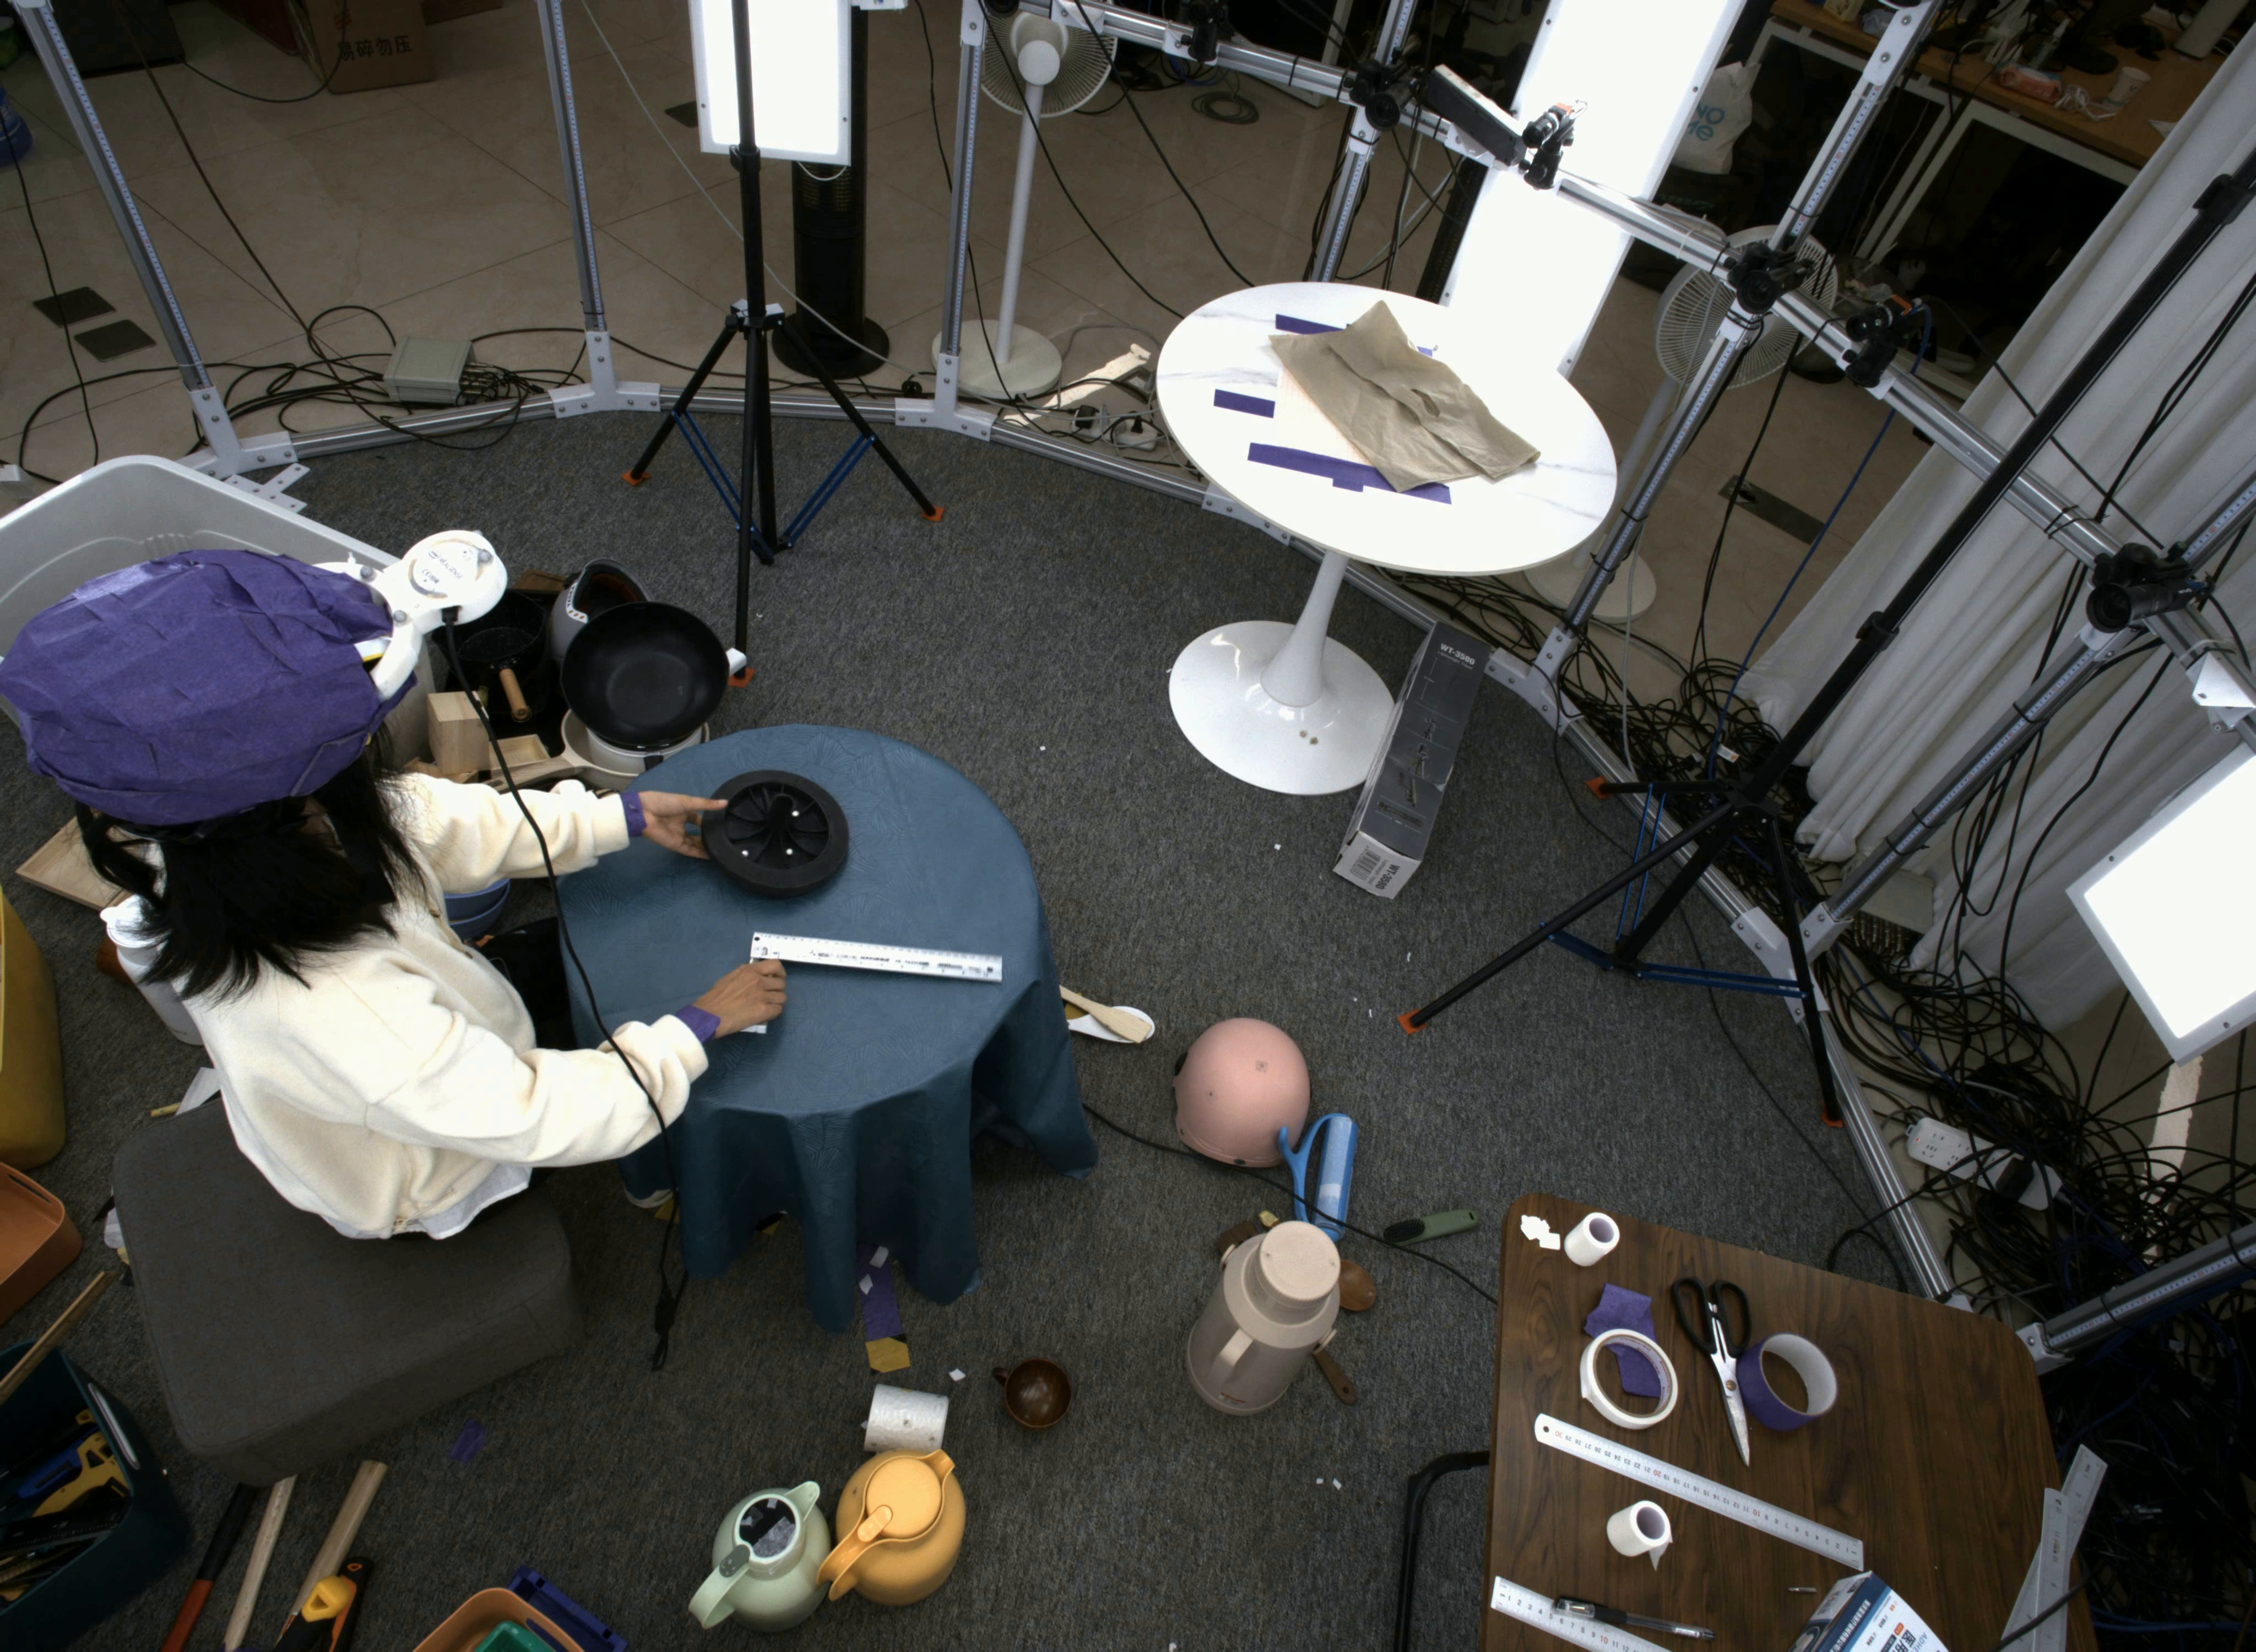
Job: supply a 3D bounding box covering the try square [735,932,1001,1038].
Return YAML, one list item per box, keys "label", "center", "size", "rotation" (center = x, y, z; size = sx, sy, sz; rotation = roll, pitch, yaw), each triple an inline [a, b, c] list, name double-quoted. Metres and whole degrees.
- label: "try square"
  center: [-0.309, 0.197, 1.580]
  size: [0.314, 0.016, 0.149]
  rotation: [6, 46, -14]

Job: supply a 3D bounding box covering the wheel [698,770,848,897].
- label: "wheel"
  center: [-0.451, -0.006, 1.655]
  size: [0.187, 0.080, 0.188]
  rotation: [47, 49, 13]
